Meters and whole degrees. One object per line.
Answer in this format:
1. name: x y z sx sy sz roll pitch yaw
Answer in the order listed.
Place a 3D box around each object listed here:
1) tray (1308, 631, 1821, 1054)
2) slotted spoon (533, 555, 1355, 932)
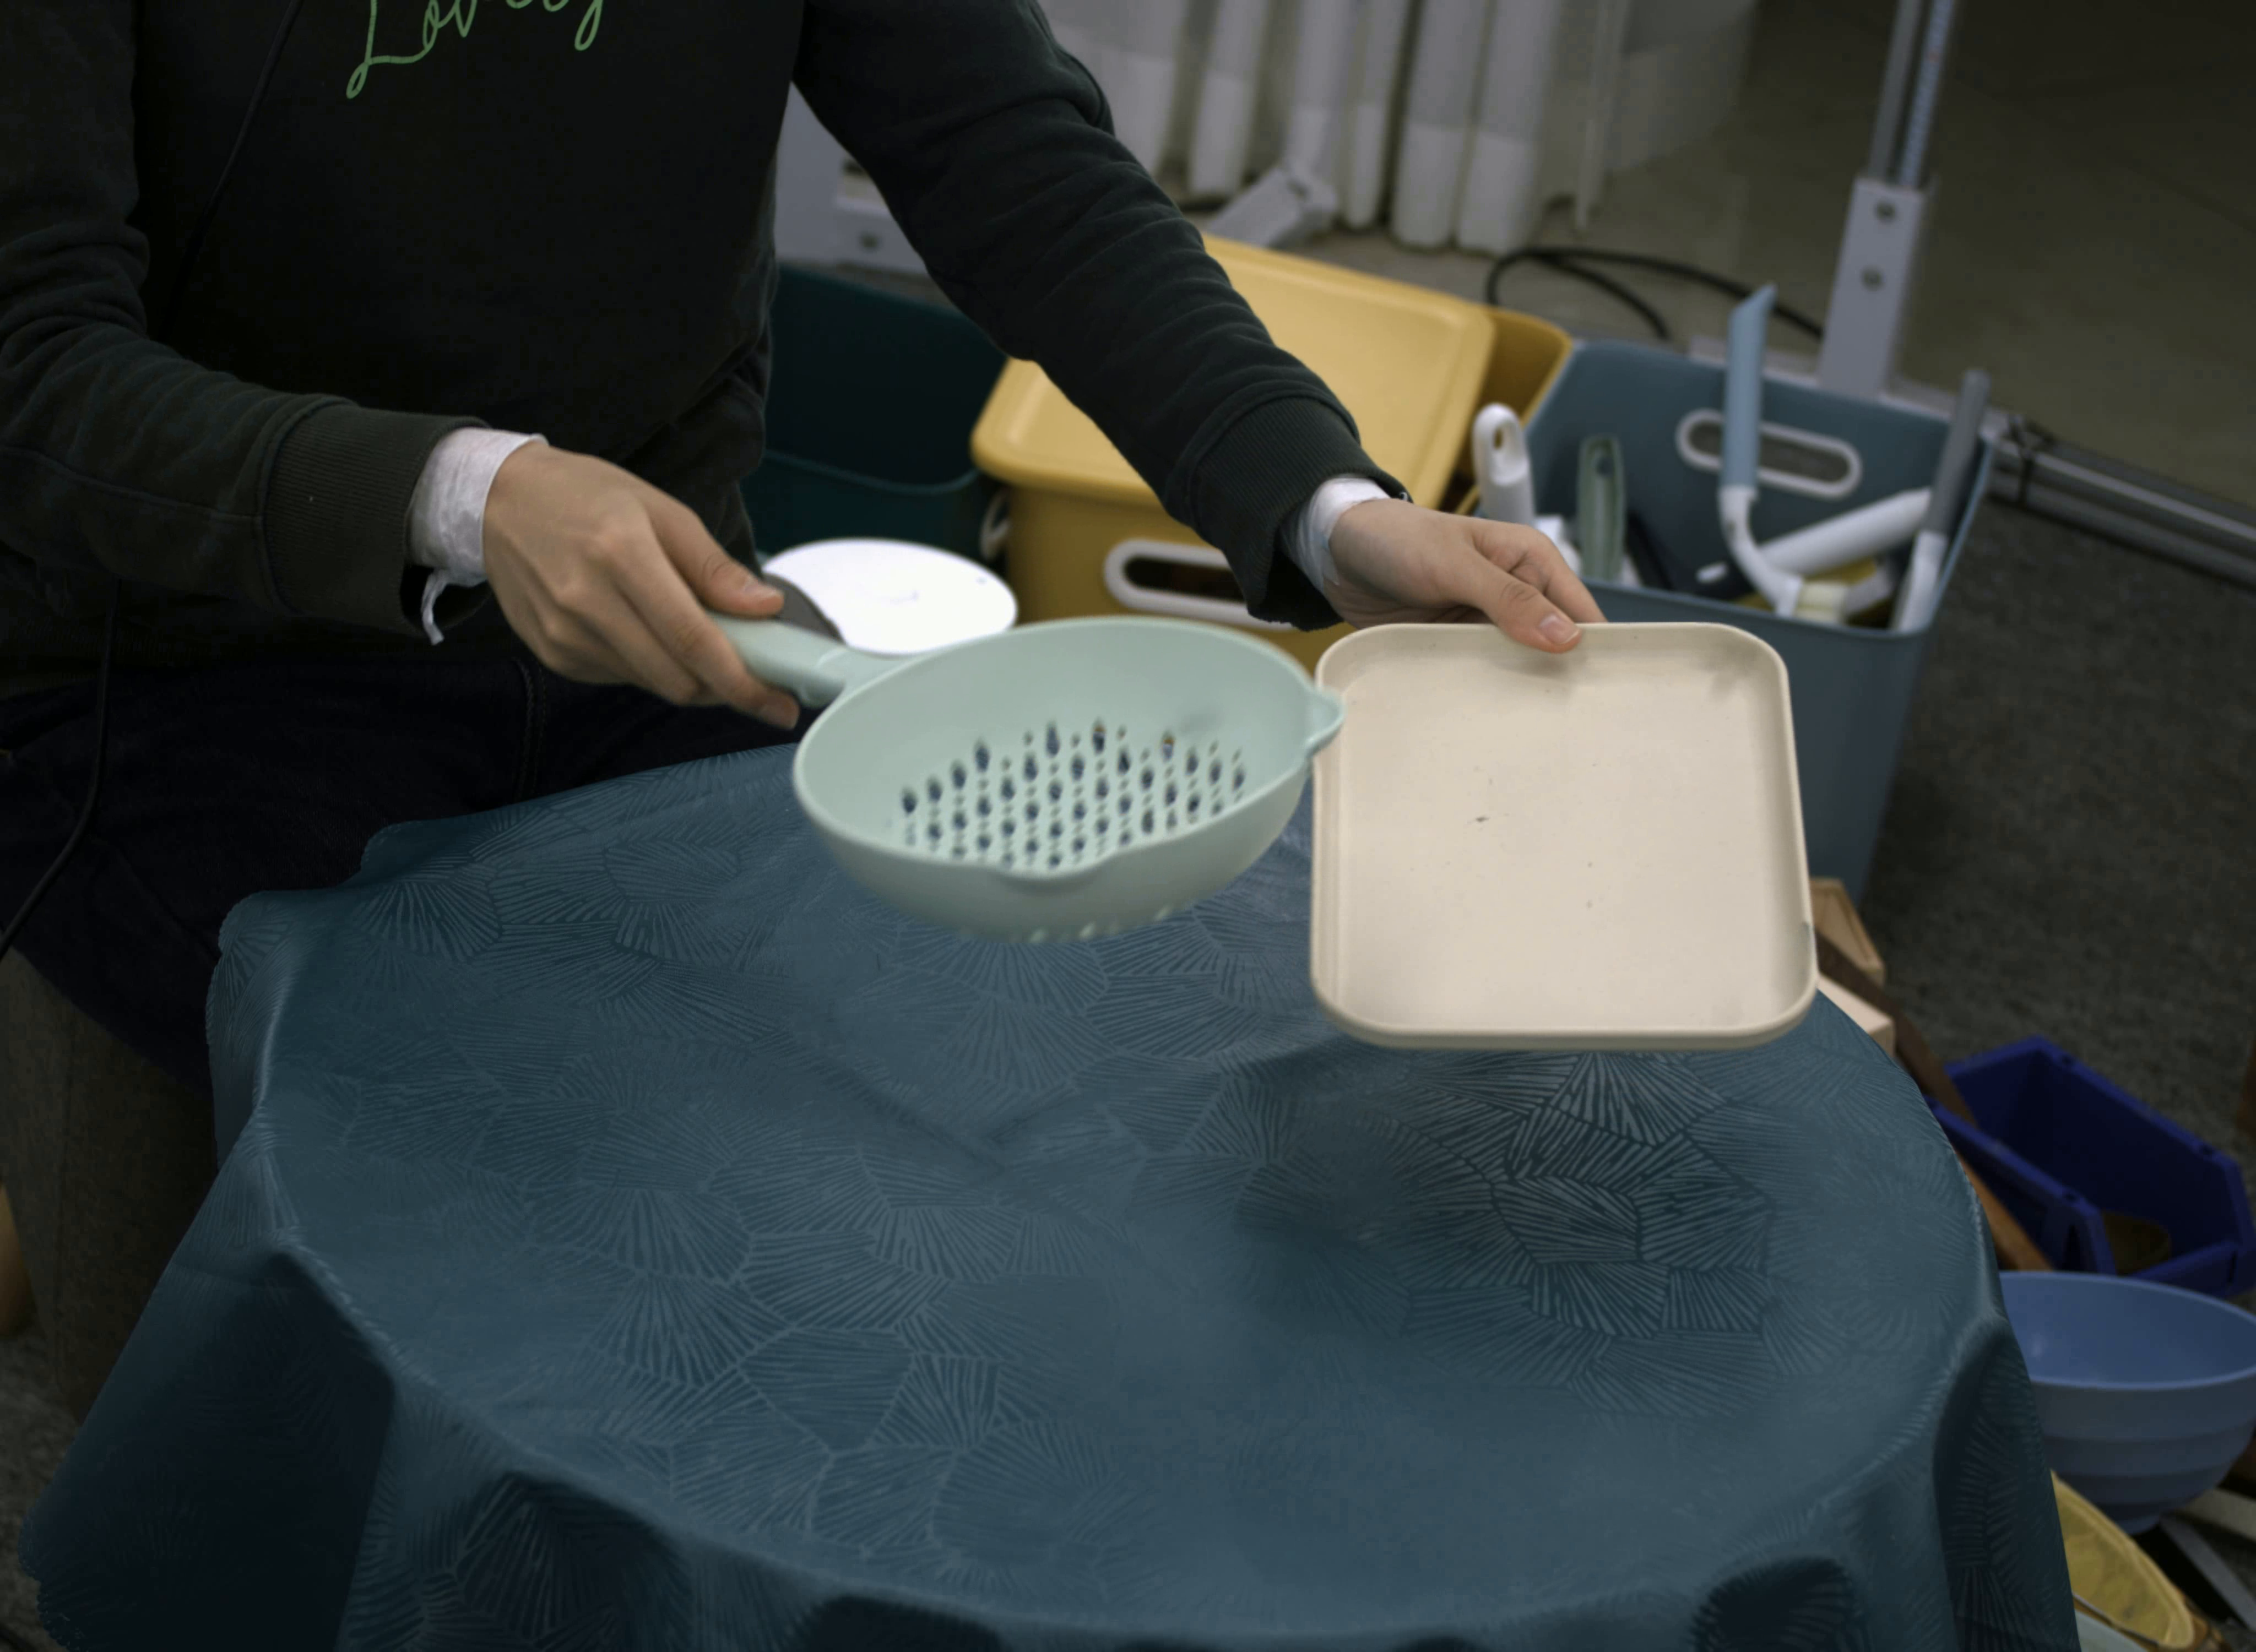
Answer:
1. tray: 0.147 0.005 1.836 0.171 0.017 0.241 0 35 3
2. slotted spoon: -0.086 -0.046 1.765 0.169 0.075 0.361 -28 40 -35
